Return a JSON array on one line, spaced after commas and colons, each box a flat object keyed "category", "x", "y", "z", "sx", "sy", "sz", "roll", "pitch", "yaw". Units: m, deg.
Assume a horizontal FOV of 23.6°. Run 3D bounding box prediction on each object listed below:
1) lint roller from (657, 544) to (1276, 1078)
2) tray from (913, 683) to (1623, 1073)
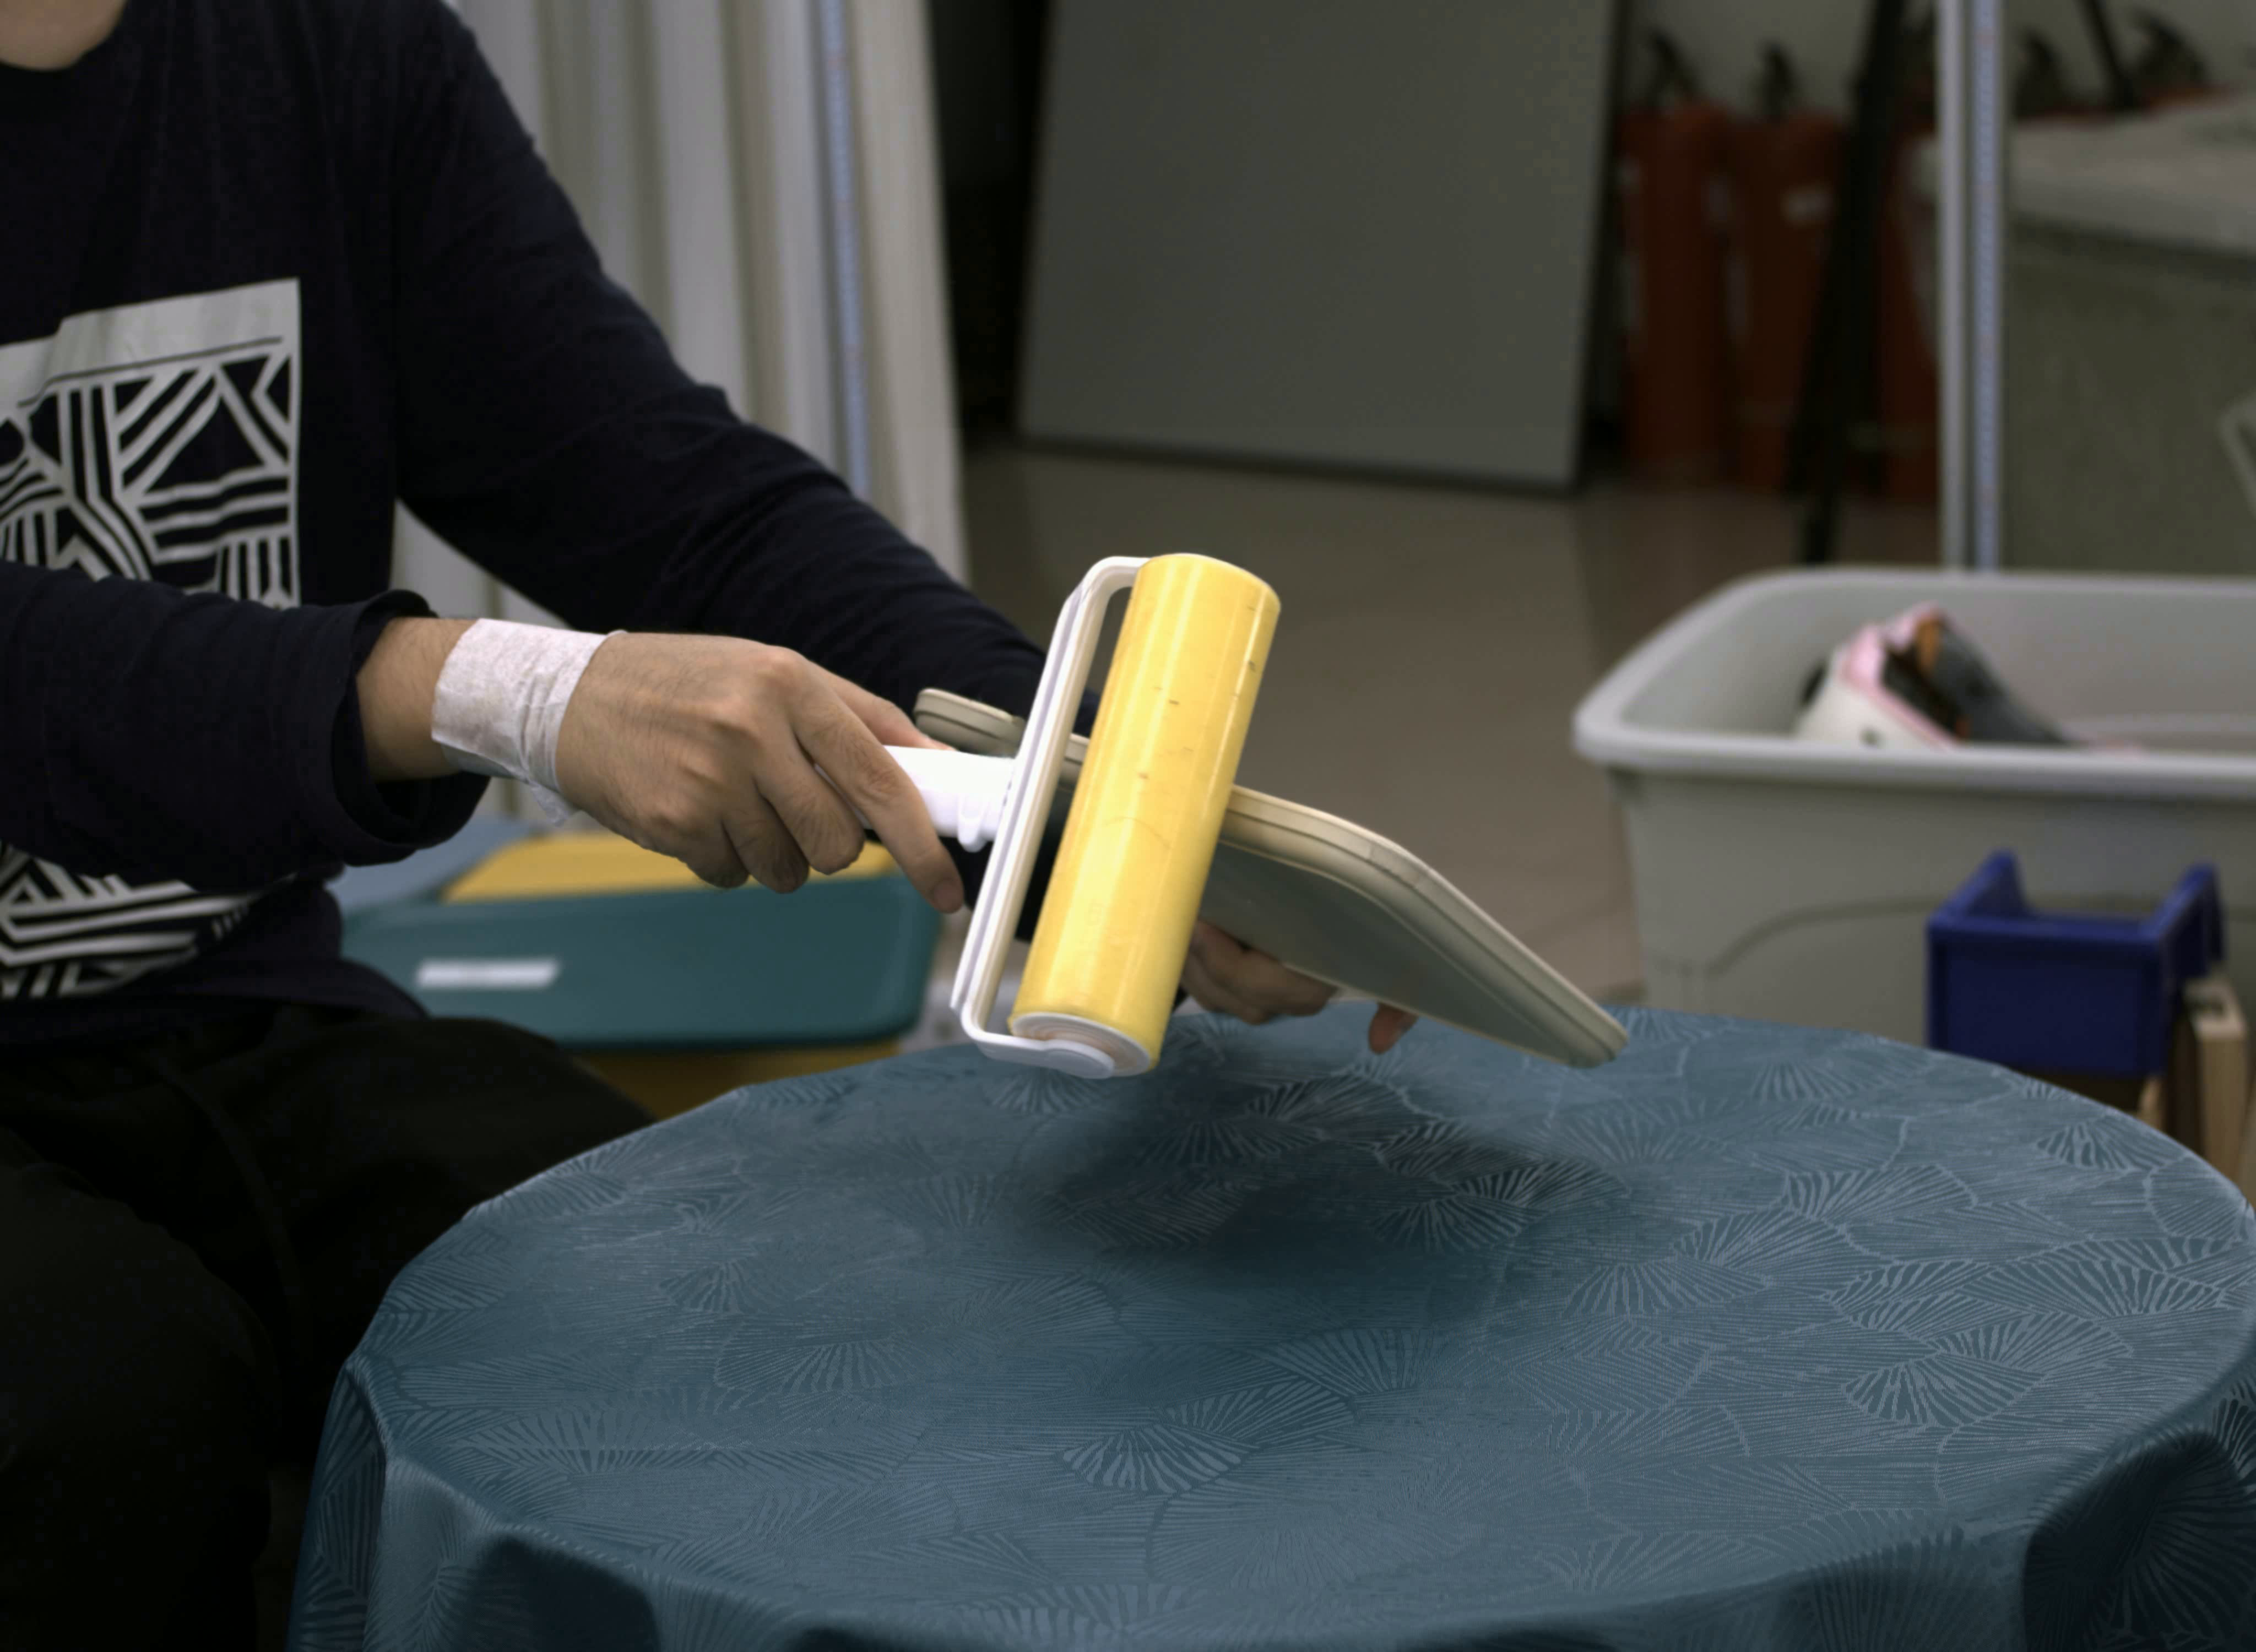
[{"category": "lint roller", "x": -0.061, "y": -0.013, "z": 1.688, "sx": 0.191, "sy": 0.175, "sz": 0.051, "roll": 7, "pitch": -25, "yaw": 15}, {"category": "tray", "x": 0.042, "y": 0.019, "z": 1.775, "sx": 0.242, "sy": 0.017, "sz": 0.169, "roll": 18, "pitch": -16, "yaw": 46}]
